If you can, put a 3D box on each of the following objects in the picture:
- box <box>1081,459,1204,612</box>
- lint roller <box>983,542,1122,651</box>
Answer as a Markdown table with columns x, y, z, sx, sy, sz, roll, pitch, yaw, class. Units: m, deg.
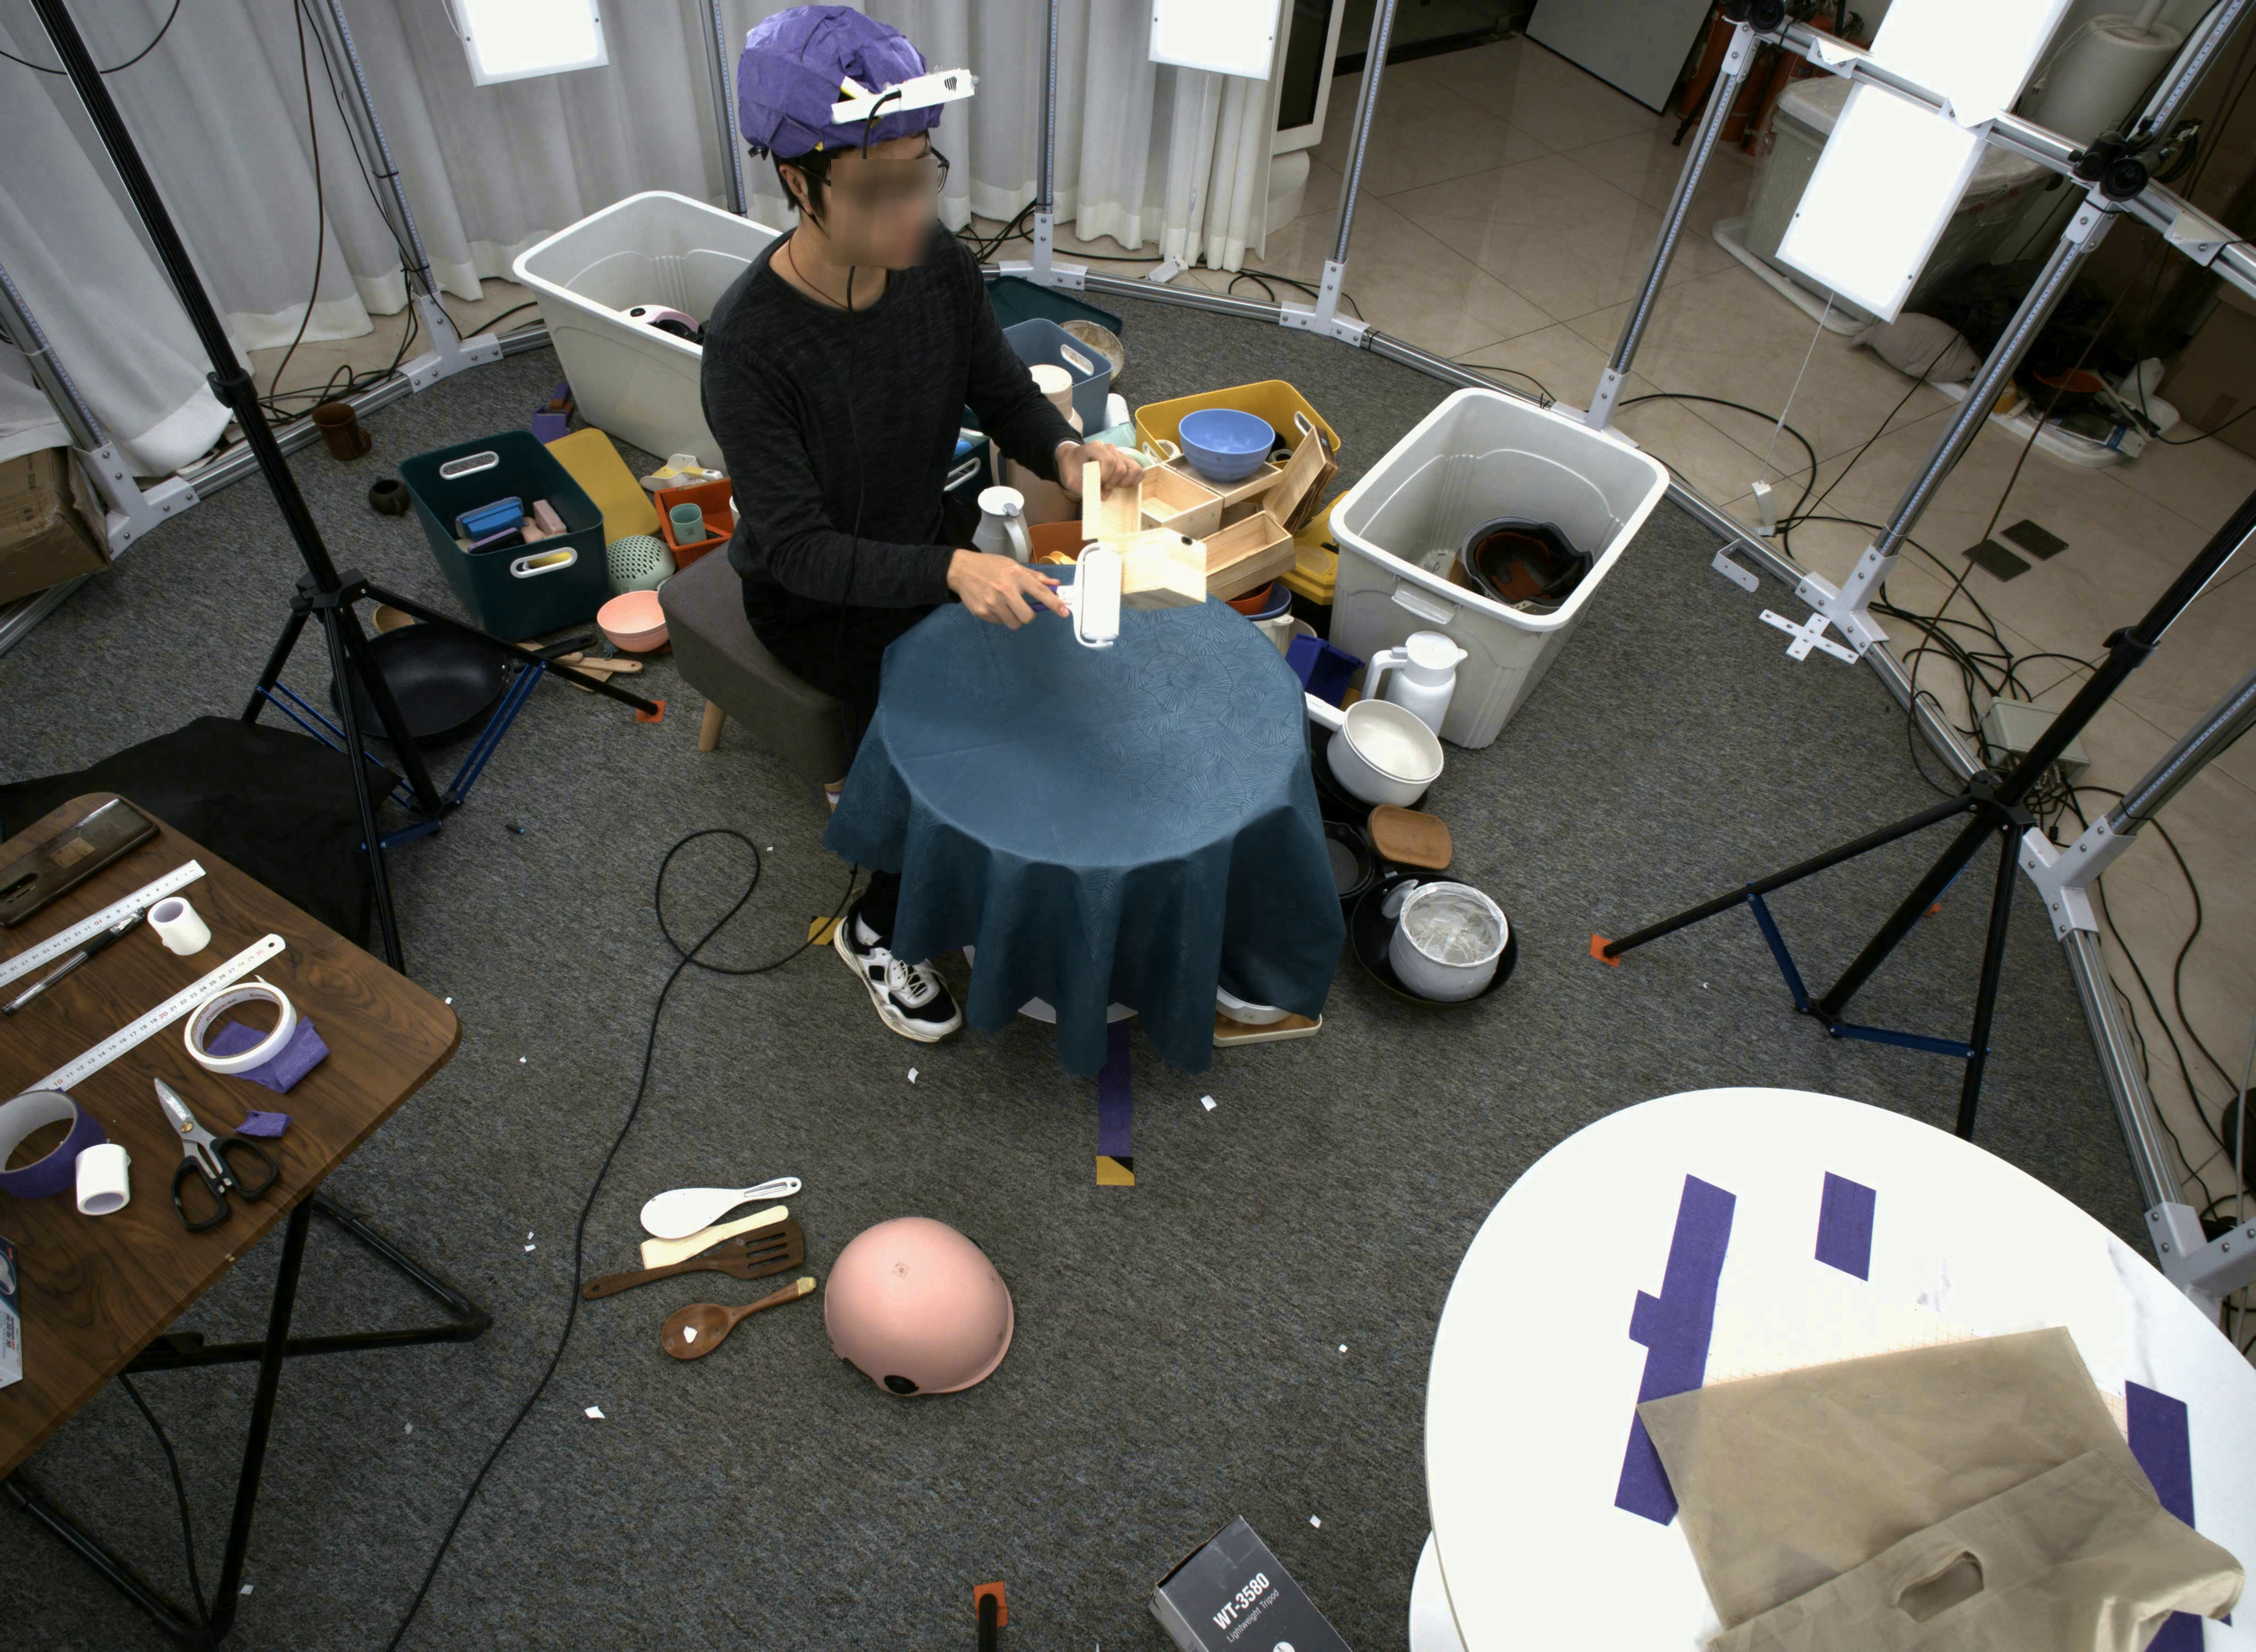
| x | y | z | sx | sy | sz | roll | pitch | yaw | class |
| --- | --- | --- | --- | --- | --- | --- | --- | --- | --- |
| 0.022 | -0.379 | 1.655 | 0.134 | 0.102 | 0.185 | -3 | 84 | 35 | box |
| -0.097 | -0.289 | 1.607 | 0.181 | 0.050 | 0.133 | 4 | 87 | 9 | lint roller |
